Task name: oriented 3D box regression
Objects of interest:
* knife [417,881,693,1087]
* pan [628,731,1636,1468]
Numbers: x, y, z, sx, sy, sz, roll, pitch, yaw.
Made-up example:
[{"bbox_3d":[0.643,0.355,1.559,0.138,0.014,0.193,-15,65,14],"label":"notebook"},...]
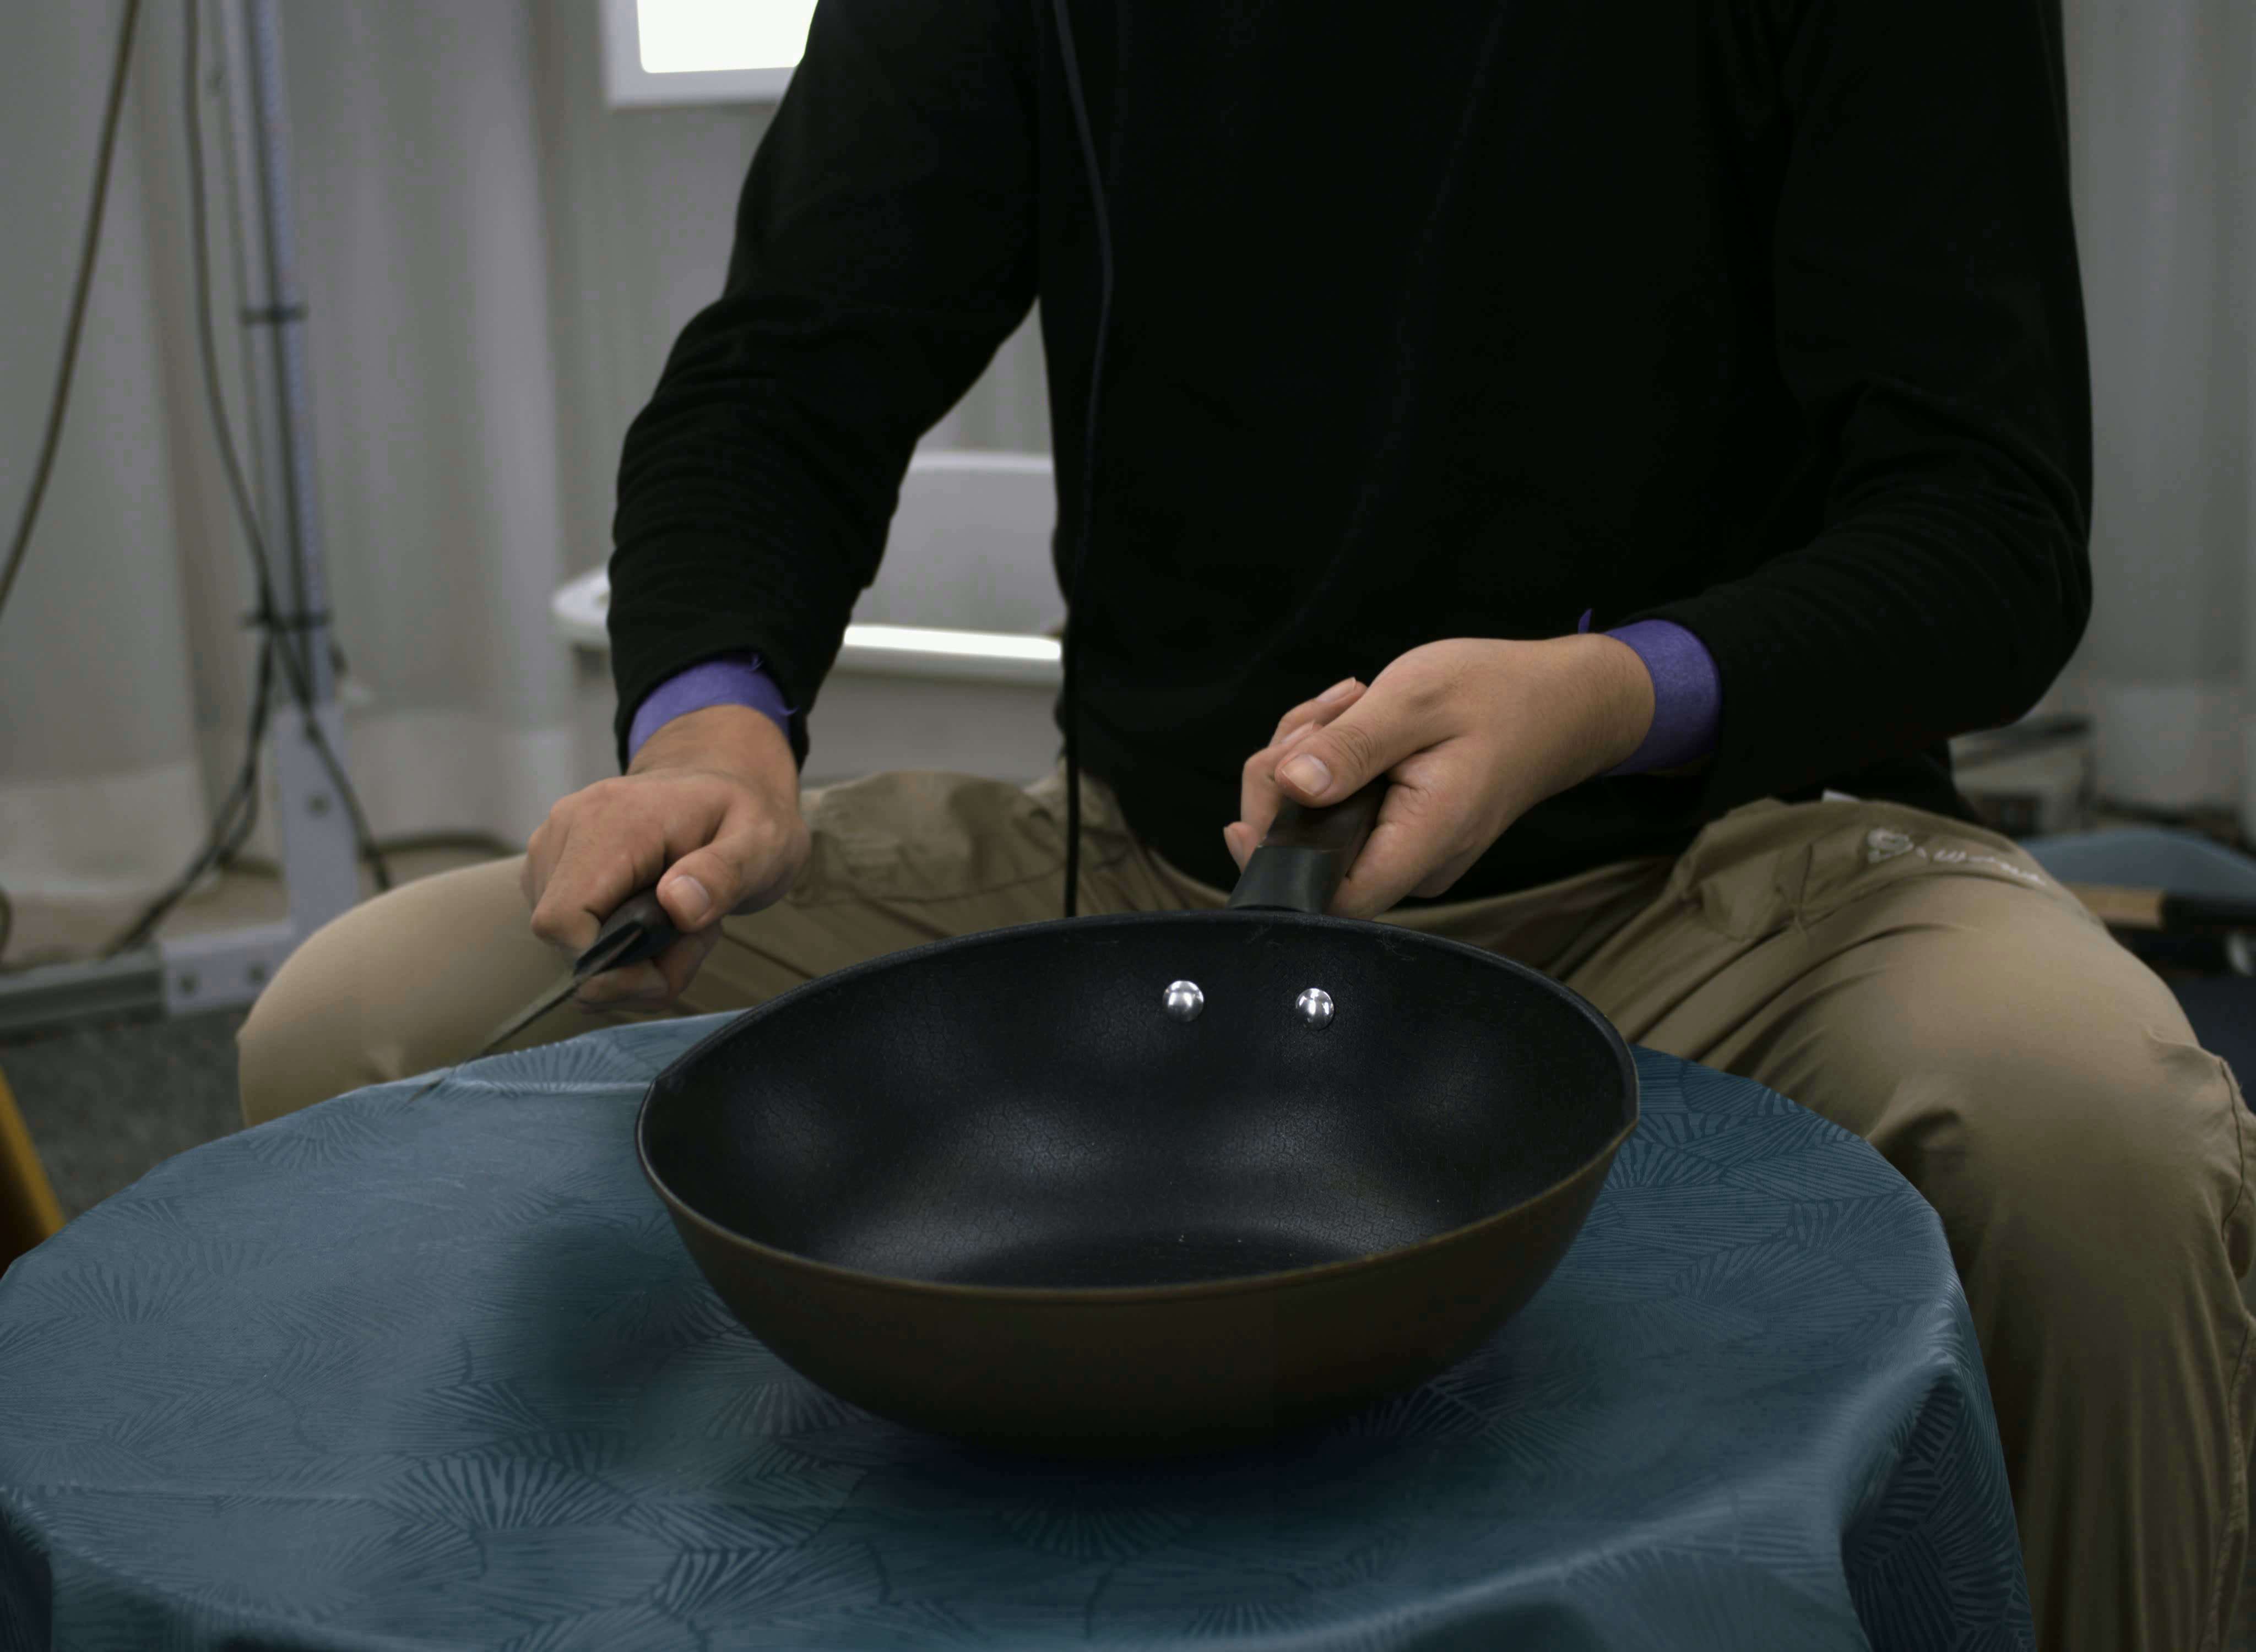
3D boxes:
[{"bbox_3d":[-0.172,0.047,1.687,0.081,0.021,0.303,-35,2,7],"label":"knife"},{"bbox_3d":[0.027,0.080,1.631,0.288,0.086,0.466,2,20,16],"label":"pan"}]
